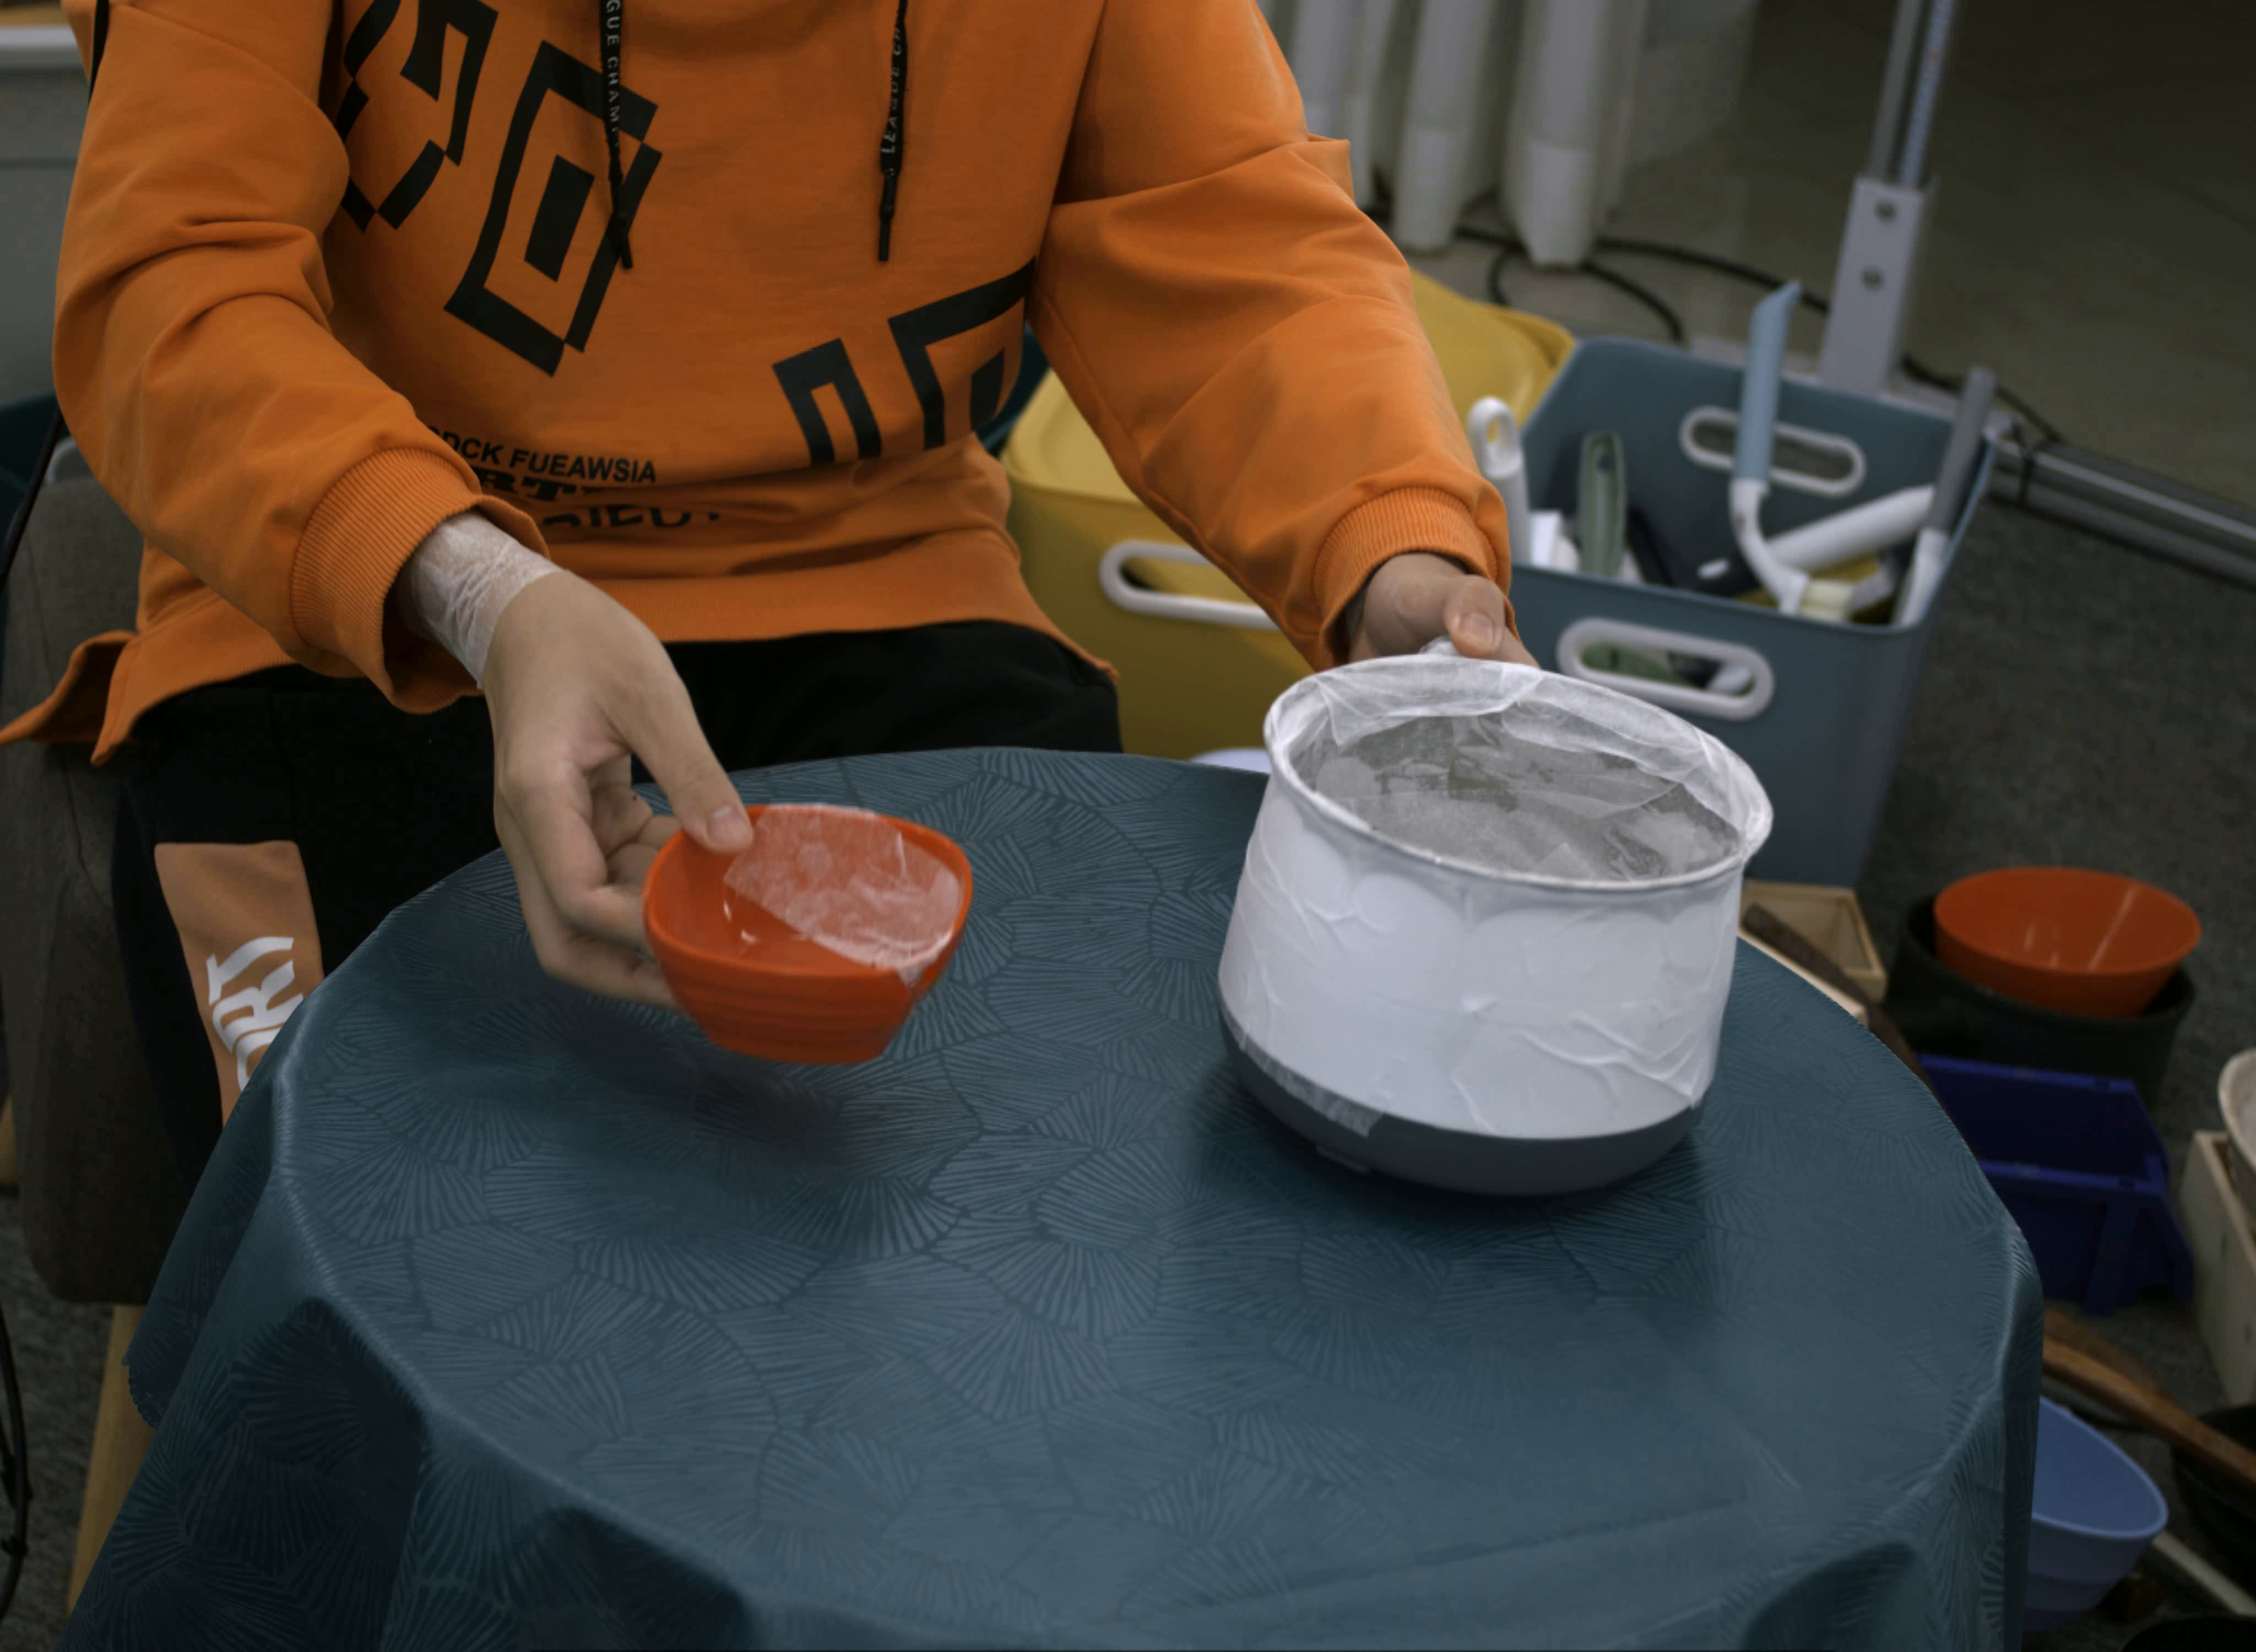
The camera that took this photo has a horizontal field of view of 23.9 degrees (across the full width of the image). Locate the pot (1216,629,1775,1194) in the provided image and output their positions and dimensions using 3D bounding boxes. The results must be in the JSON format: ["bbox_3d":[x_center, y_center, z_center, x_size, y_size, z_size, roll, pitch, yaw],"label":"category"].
[{"bbox_3d":[0.118,0.023,1.866,0.178,0.136,0.235,4,25,-13],"label":"pot"}]

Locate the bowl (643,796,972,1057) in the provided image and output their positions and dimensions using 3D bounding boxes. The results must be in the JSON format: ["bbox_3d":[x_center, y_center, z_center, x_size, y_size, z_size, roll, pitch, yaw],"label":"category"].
[{"bbox_3d":[-0.108,0.039,1.800,0.118,0.051,0.120,1,30,-1],"label":"bowl"}]
